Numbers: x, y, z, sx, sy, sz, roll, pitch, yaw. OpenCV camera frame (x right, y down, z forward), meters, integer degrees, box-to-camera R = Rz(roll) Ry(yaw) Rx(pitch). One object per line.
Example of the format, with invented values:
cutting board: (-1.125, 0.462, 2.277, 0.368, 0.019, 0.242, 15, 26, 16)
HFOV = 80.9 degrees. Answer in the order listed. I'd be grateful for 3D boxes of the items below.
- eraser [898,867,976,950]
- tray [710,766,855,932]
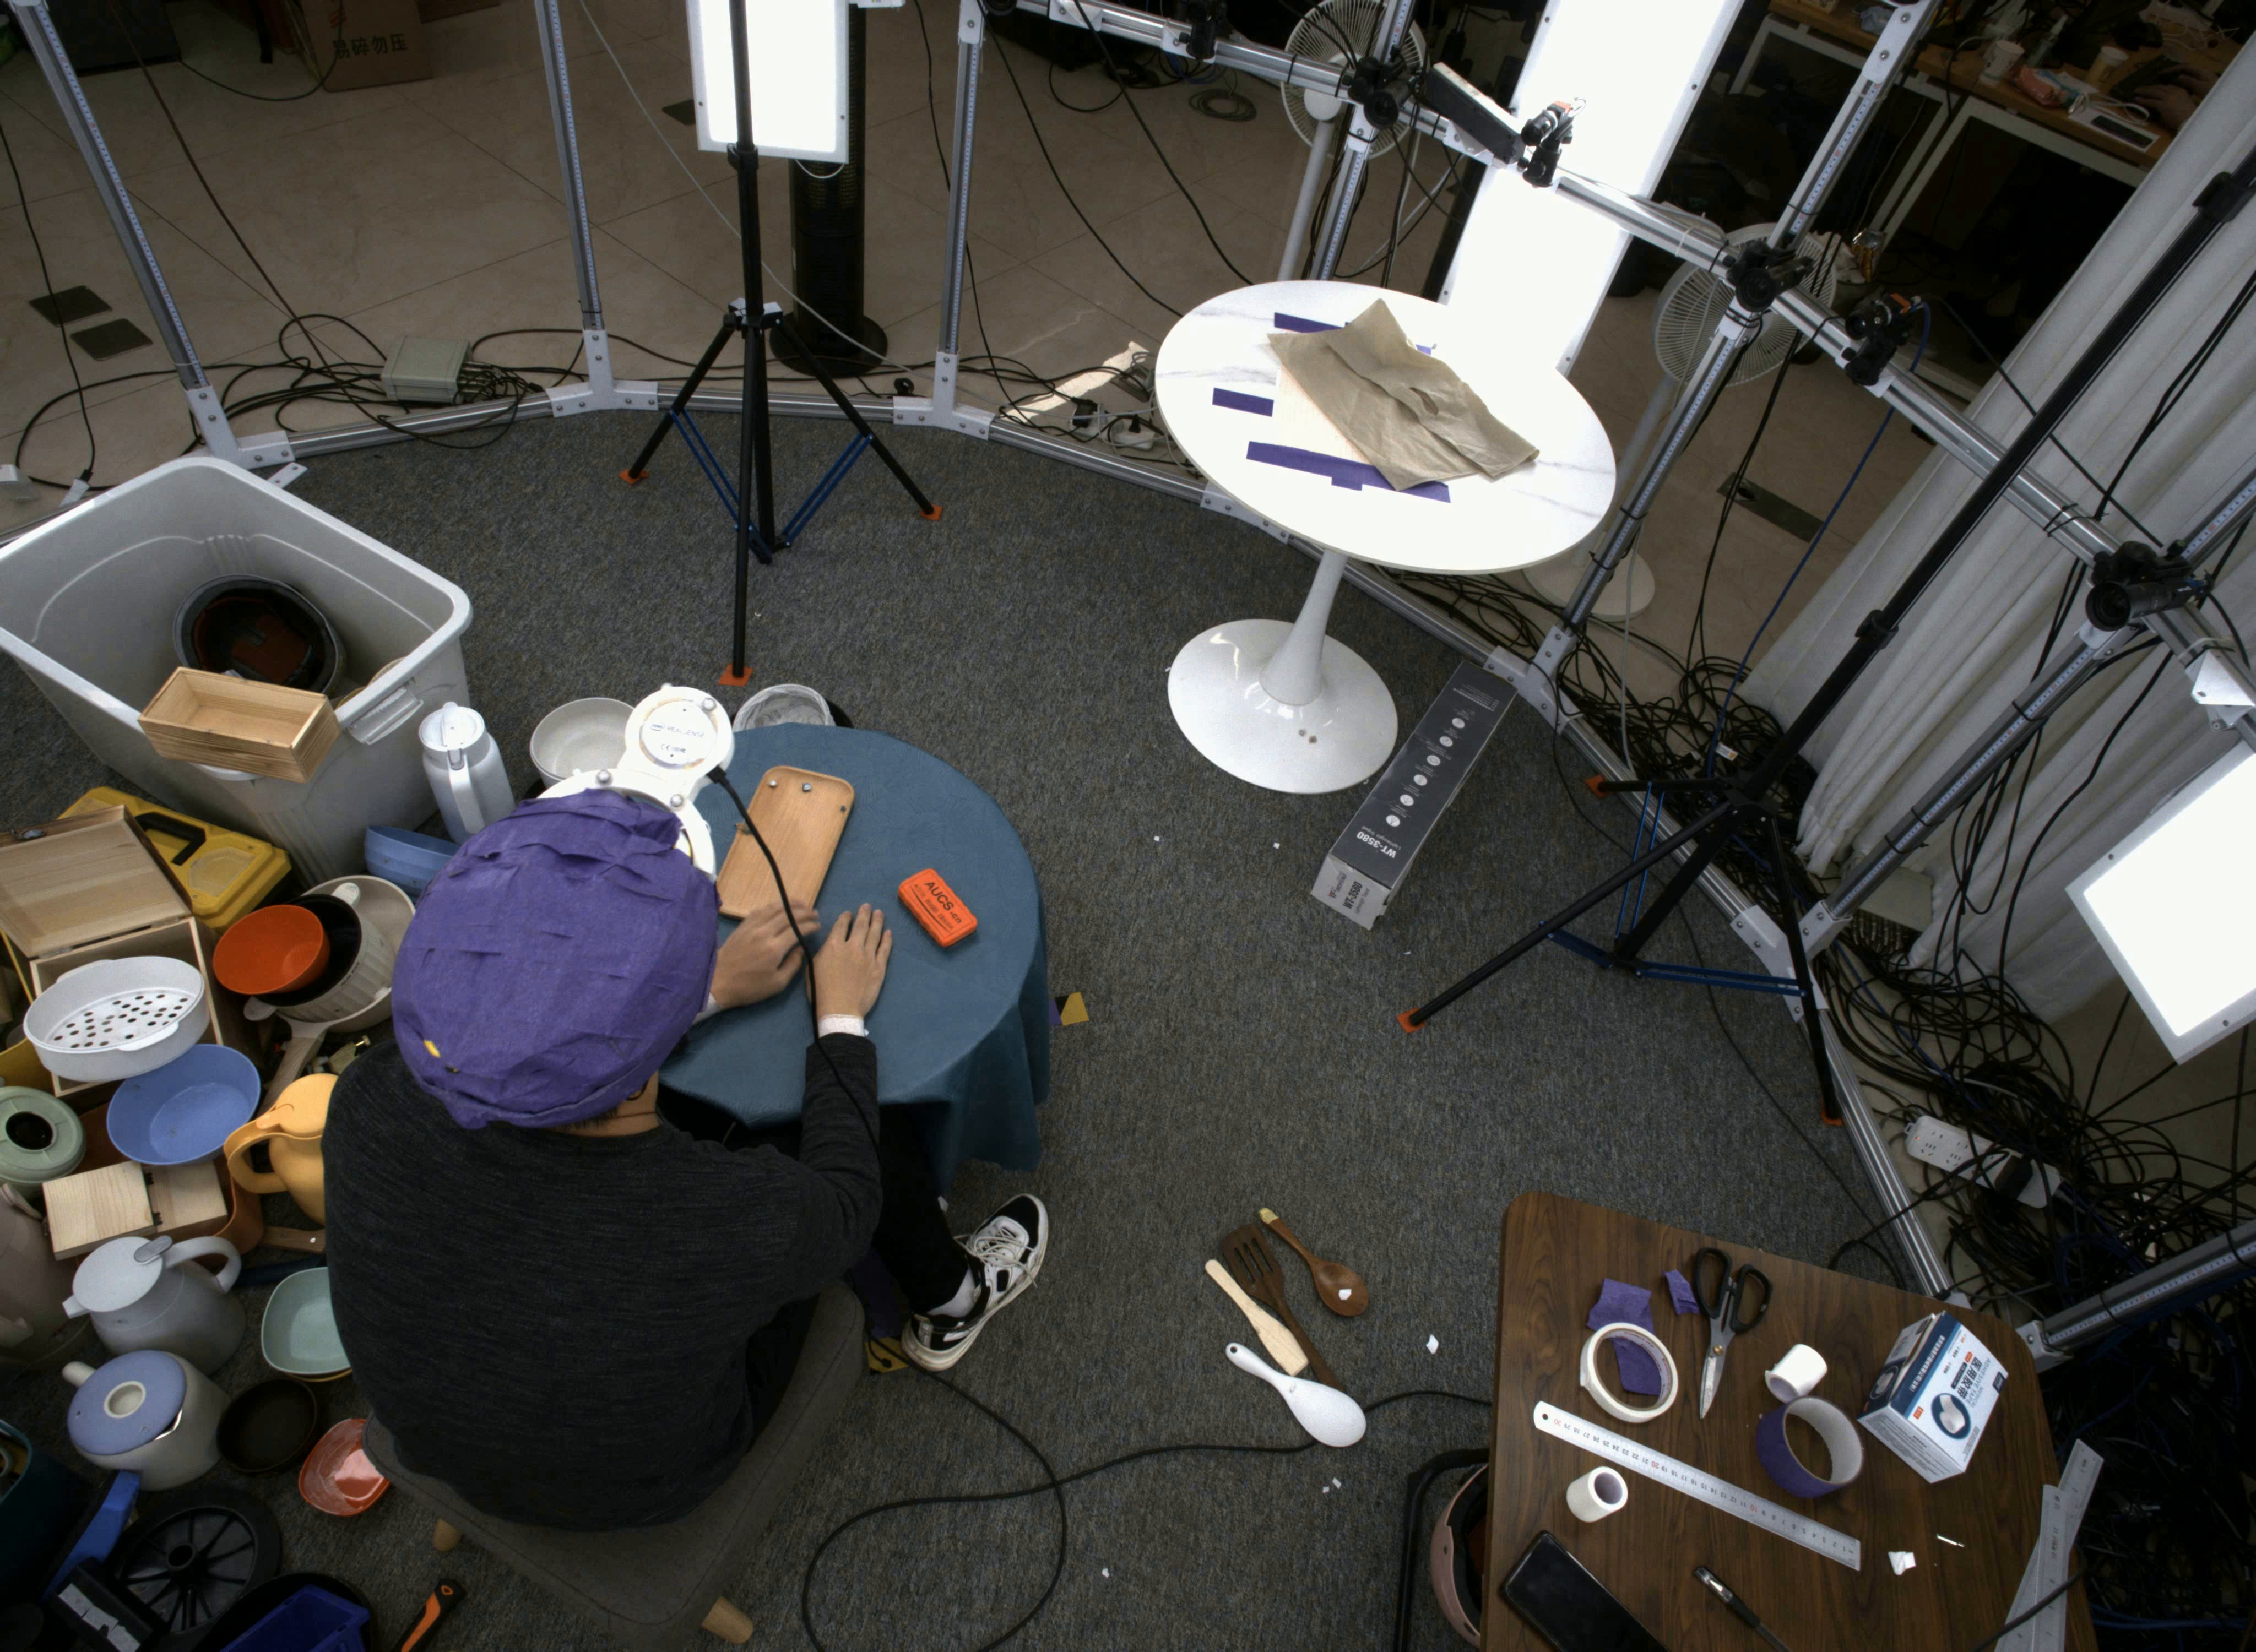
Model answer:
eraser: (-0.245, 0.104, 1.672, 0.059, 0.023, 0.105, -30, 66, -30)
tray: (-0.446, 0.025, 1.683, 0.129, 0.023, 0.247, 14, 52, -2)
